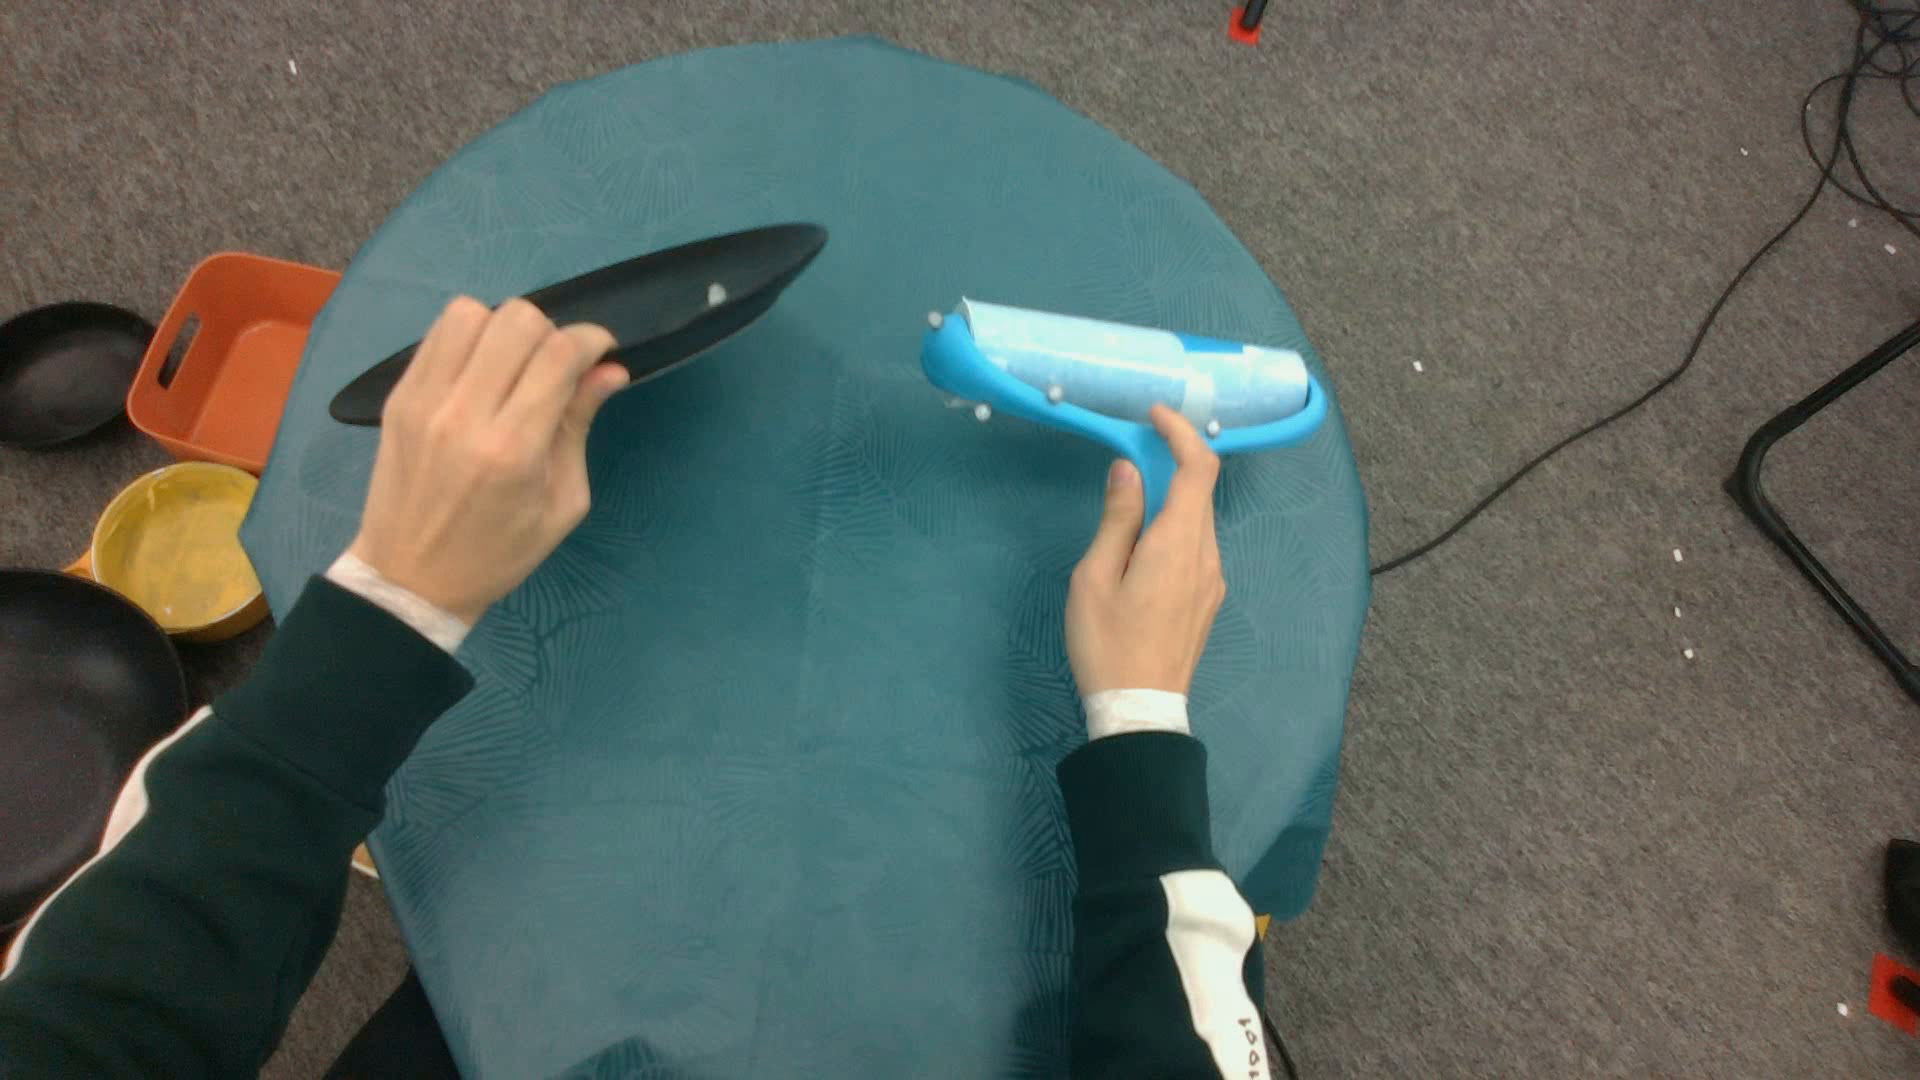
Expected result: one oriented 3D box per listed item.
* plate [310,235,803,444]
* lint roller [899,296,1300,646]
[{"bbox_3d":[-0.190,-0.096,0.671,0.245,0.244,0.023,-26,116,-20],"label":"plate"},{"bbox_3d":[0.084,-0.039,0.723,0.229,0.067,0.181,2,68,-22],"label":"lint roller"}]
